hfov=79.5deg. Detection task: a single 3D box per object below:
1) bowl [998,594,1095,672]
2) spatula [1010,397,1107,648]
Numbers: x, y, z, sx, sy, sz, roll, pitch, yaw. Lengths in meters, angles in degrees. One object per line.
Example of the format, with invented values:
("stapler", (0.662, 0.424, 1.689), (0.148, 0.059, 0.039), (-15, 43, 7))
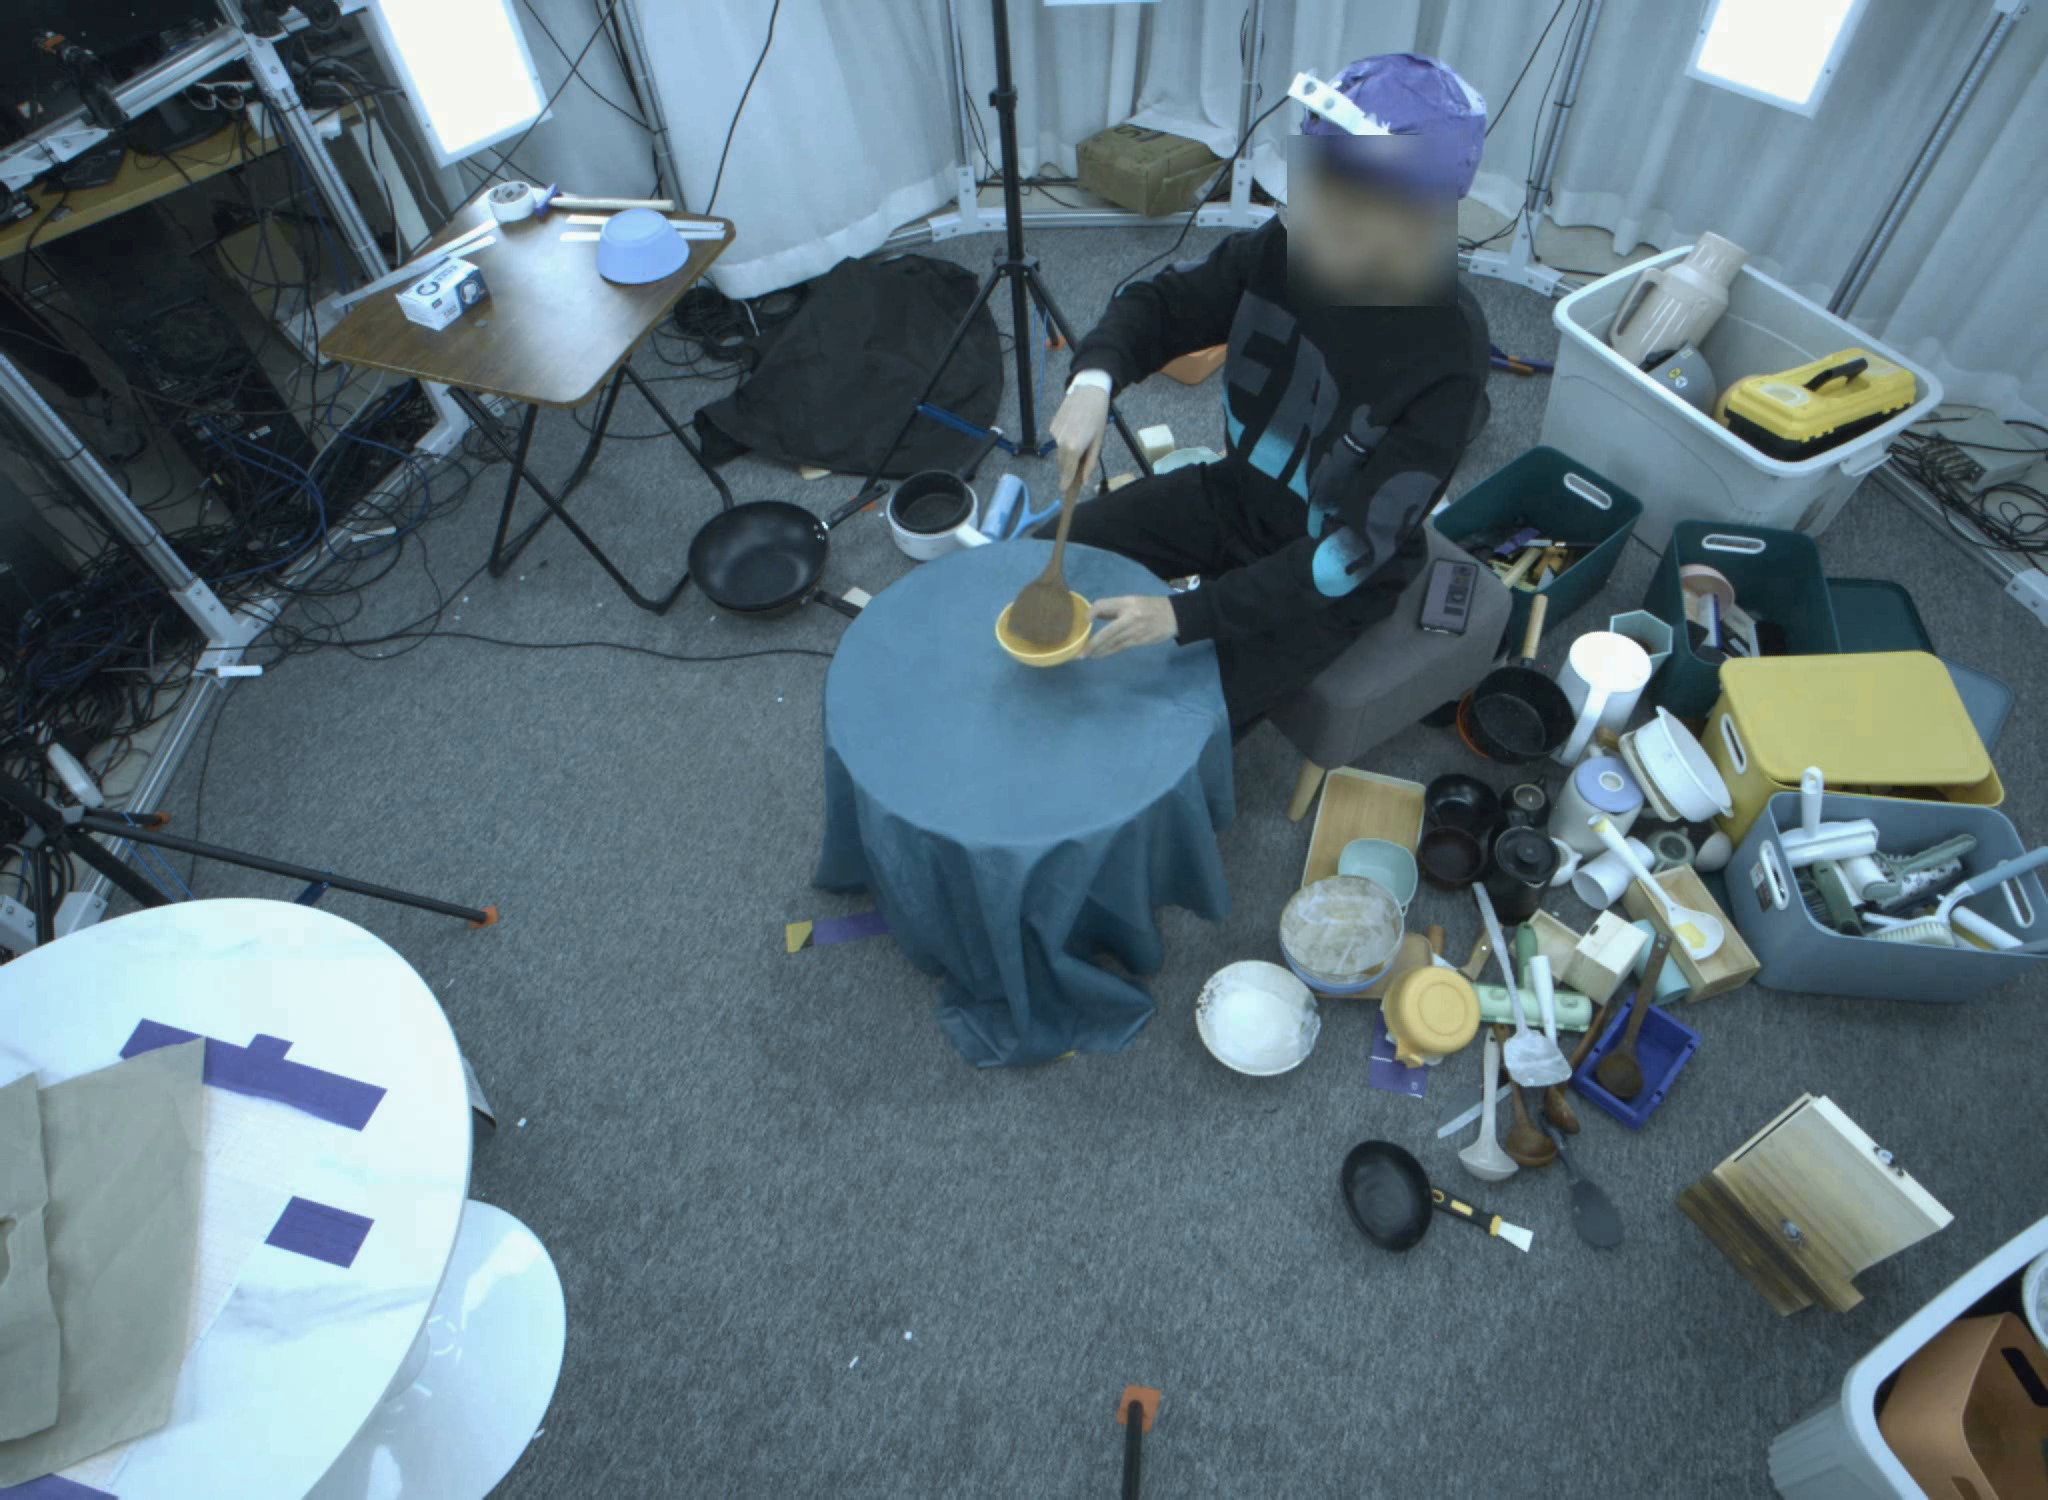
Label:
("bowl", (0.037, -0.163, 1.823), (0.145, 0.061, 0.144), (-4, 50, 6))
("spatula", (0.064, -0.339, 1.796), (0.095, 0.016, 0.386), (15, 95, 11))
